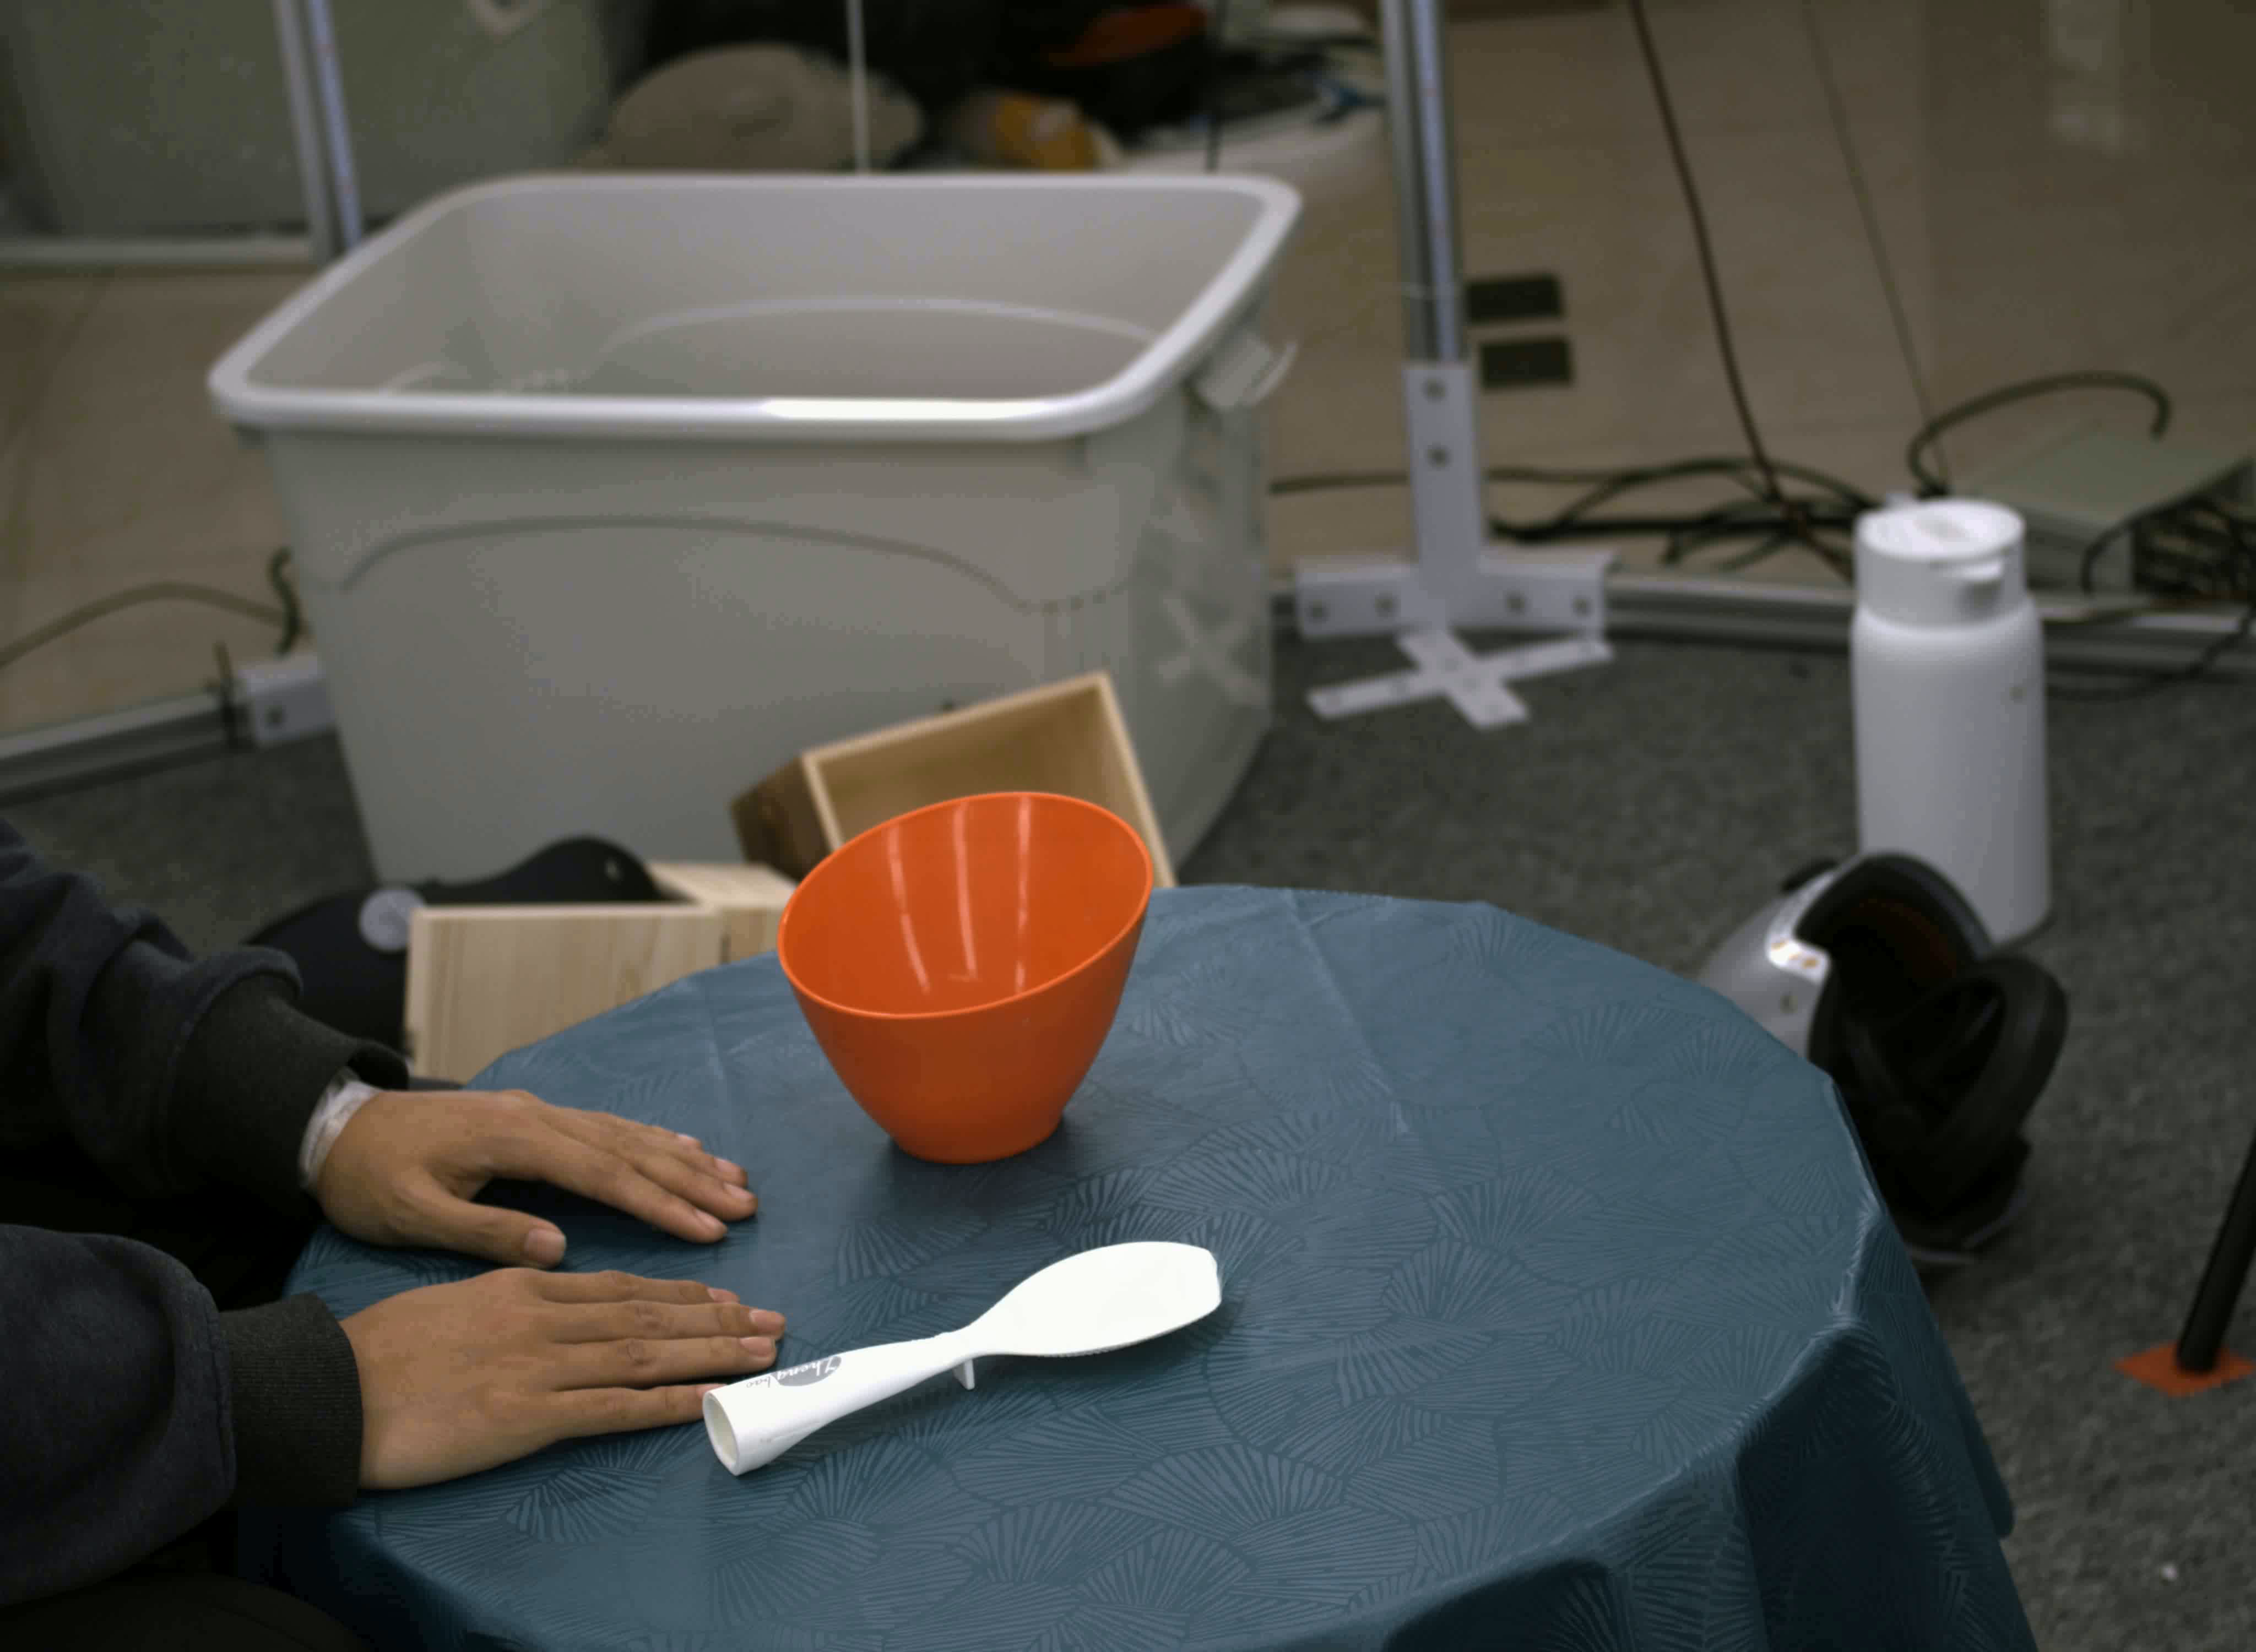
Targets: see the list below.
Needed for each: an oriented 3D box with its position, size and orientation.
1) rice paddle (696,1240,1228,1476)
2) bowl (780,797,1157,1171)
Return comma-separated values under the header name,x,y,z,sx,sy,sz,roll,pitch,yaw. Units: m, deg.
name,x,y,z,sx,sy,sz,roll,pitch,yaw
rice paddle,-0.056,0.184,2.028,0.204,0.030,0.068,-18,28,-23
bowl,-0.057,0.067,2.194,0.148,0.106,0.146,-6,27,3
